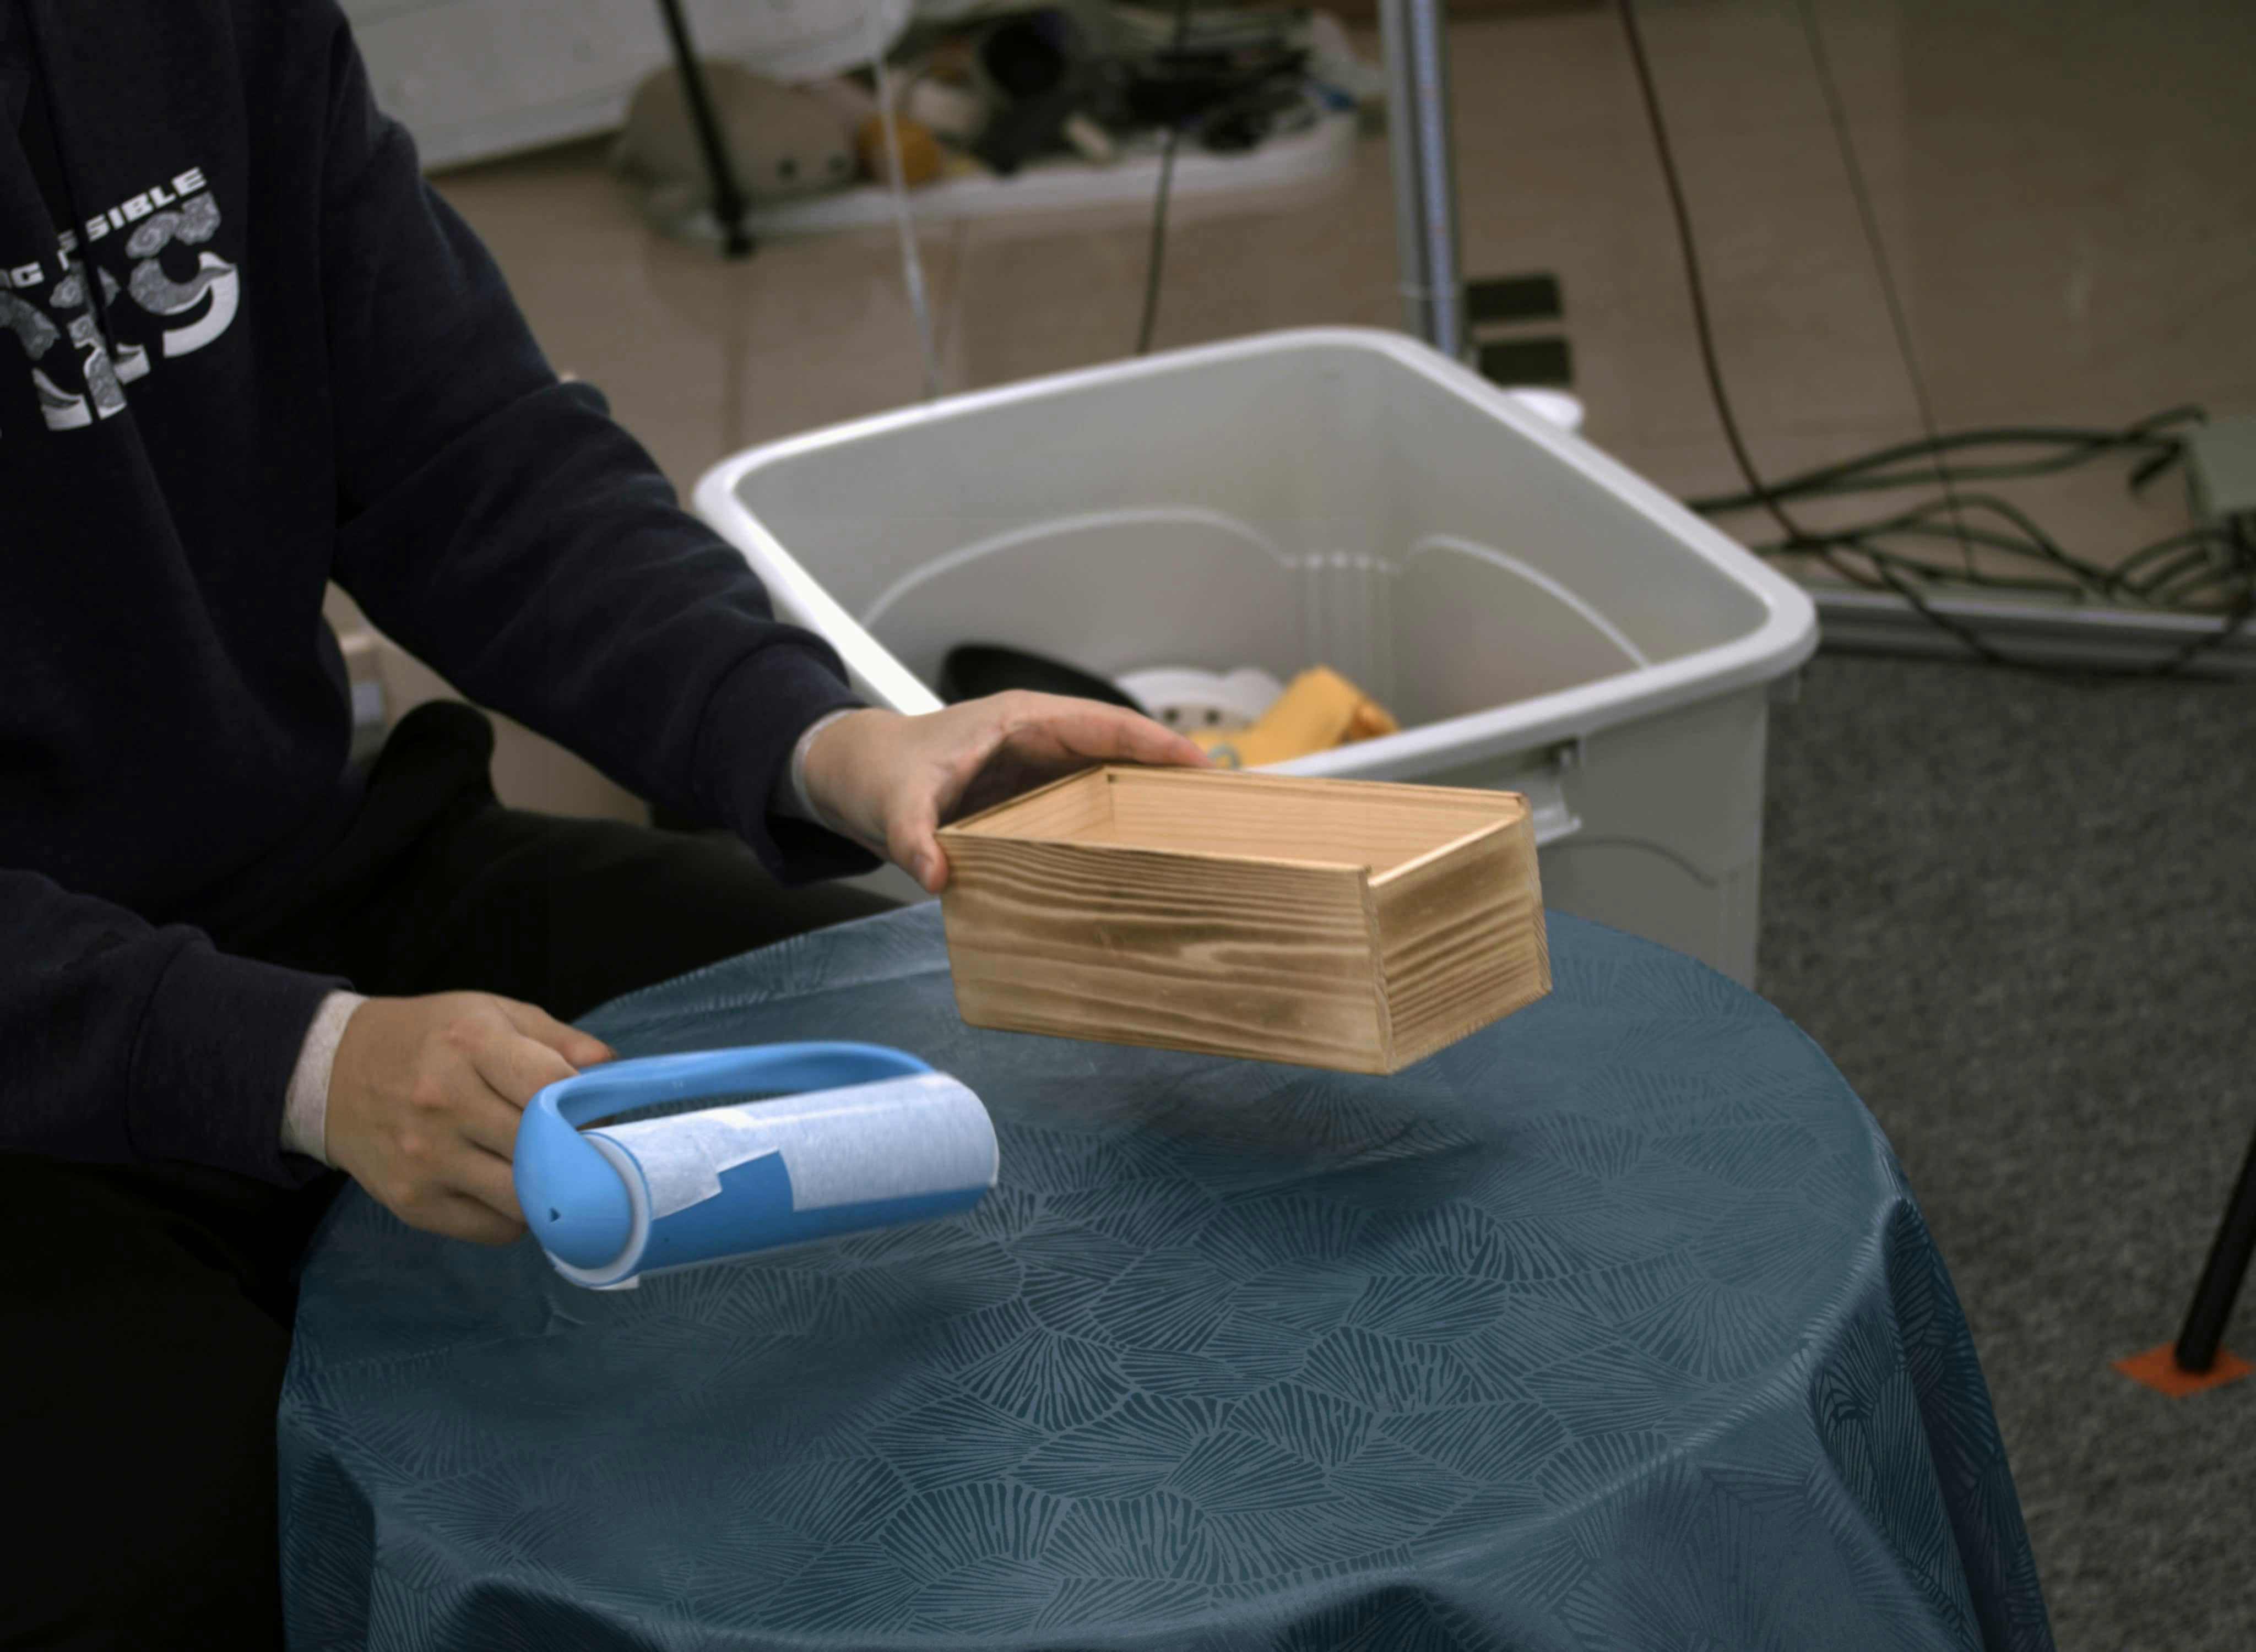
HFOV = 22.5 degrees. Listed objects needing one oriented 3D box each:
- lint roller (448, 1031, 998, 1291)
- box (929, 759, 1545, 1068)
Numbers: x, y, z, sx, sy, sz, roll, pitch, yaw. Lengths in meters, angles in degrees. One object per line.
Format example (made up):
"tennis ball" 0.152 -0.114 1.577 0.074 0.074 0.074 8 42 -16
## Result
"lint roller" -0.173 0.112 2.026 0.179 0.068 0.228 10 13 32
"box" 0.040 0.031 2.159 0.210 0.081 0.107 5 19 40
